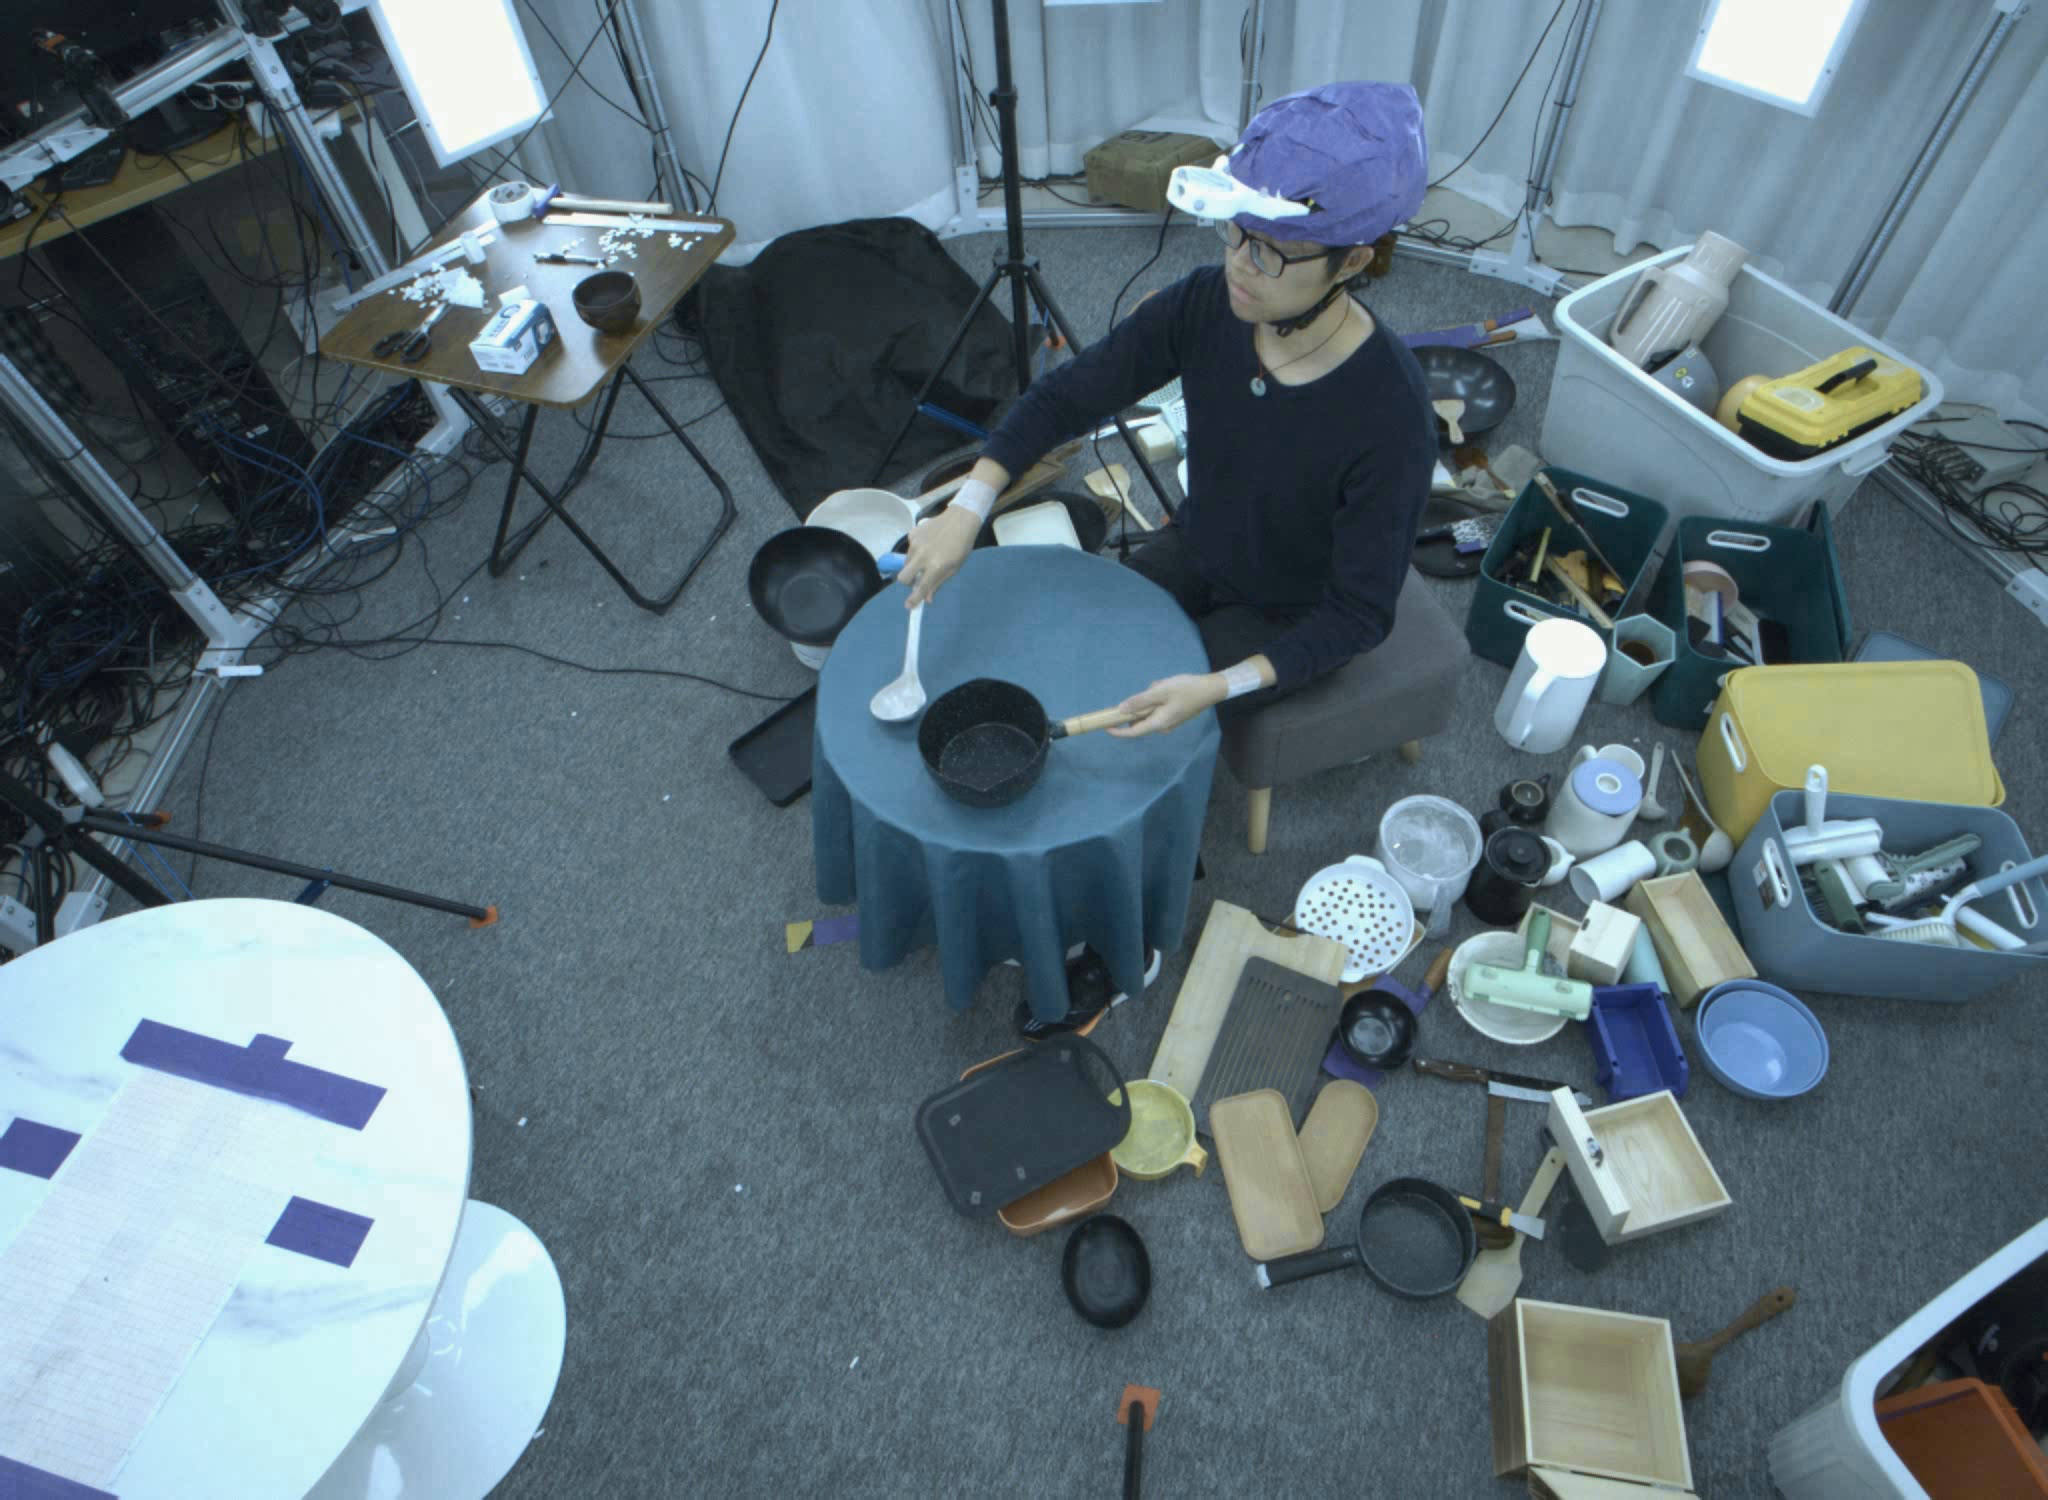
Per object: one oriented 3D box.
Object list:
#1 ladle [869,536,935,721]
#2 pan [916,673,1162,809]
[{"bbox_3d":[-0.174,-0.179,1.791,0.087,0.275,0.071,14,11,33],"label":"ladle"},{"bbox_3d":[0.023,-0.019,1.726,0.342,0.109,0.205,-7,54,2],"label":"pan"}]
